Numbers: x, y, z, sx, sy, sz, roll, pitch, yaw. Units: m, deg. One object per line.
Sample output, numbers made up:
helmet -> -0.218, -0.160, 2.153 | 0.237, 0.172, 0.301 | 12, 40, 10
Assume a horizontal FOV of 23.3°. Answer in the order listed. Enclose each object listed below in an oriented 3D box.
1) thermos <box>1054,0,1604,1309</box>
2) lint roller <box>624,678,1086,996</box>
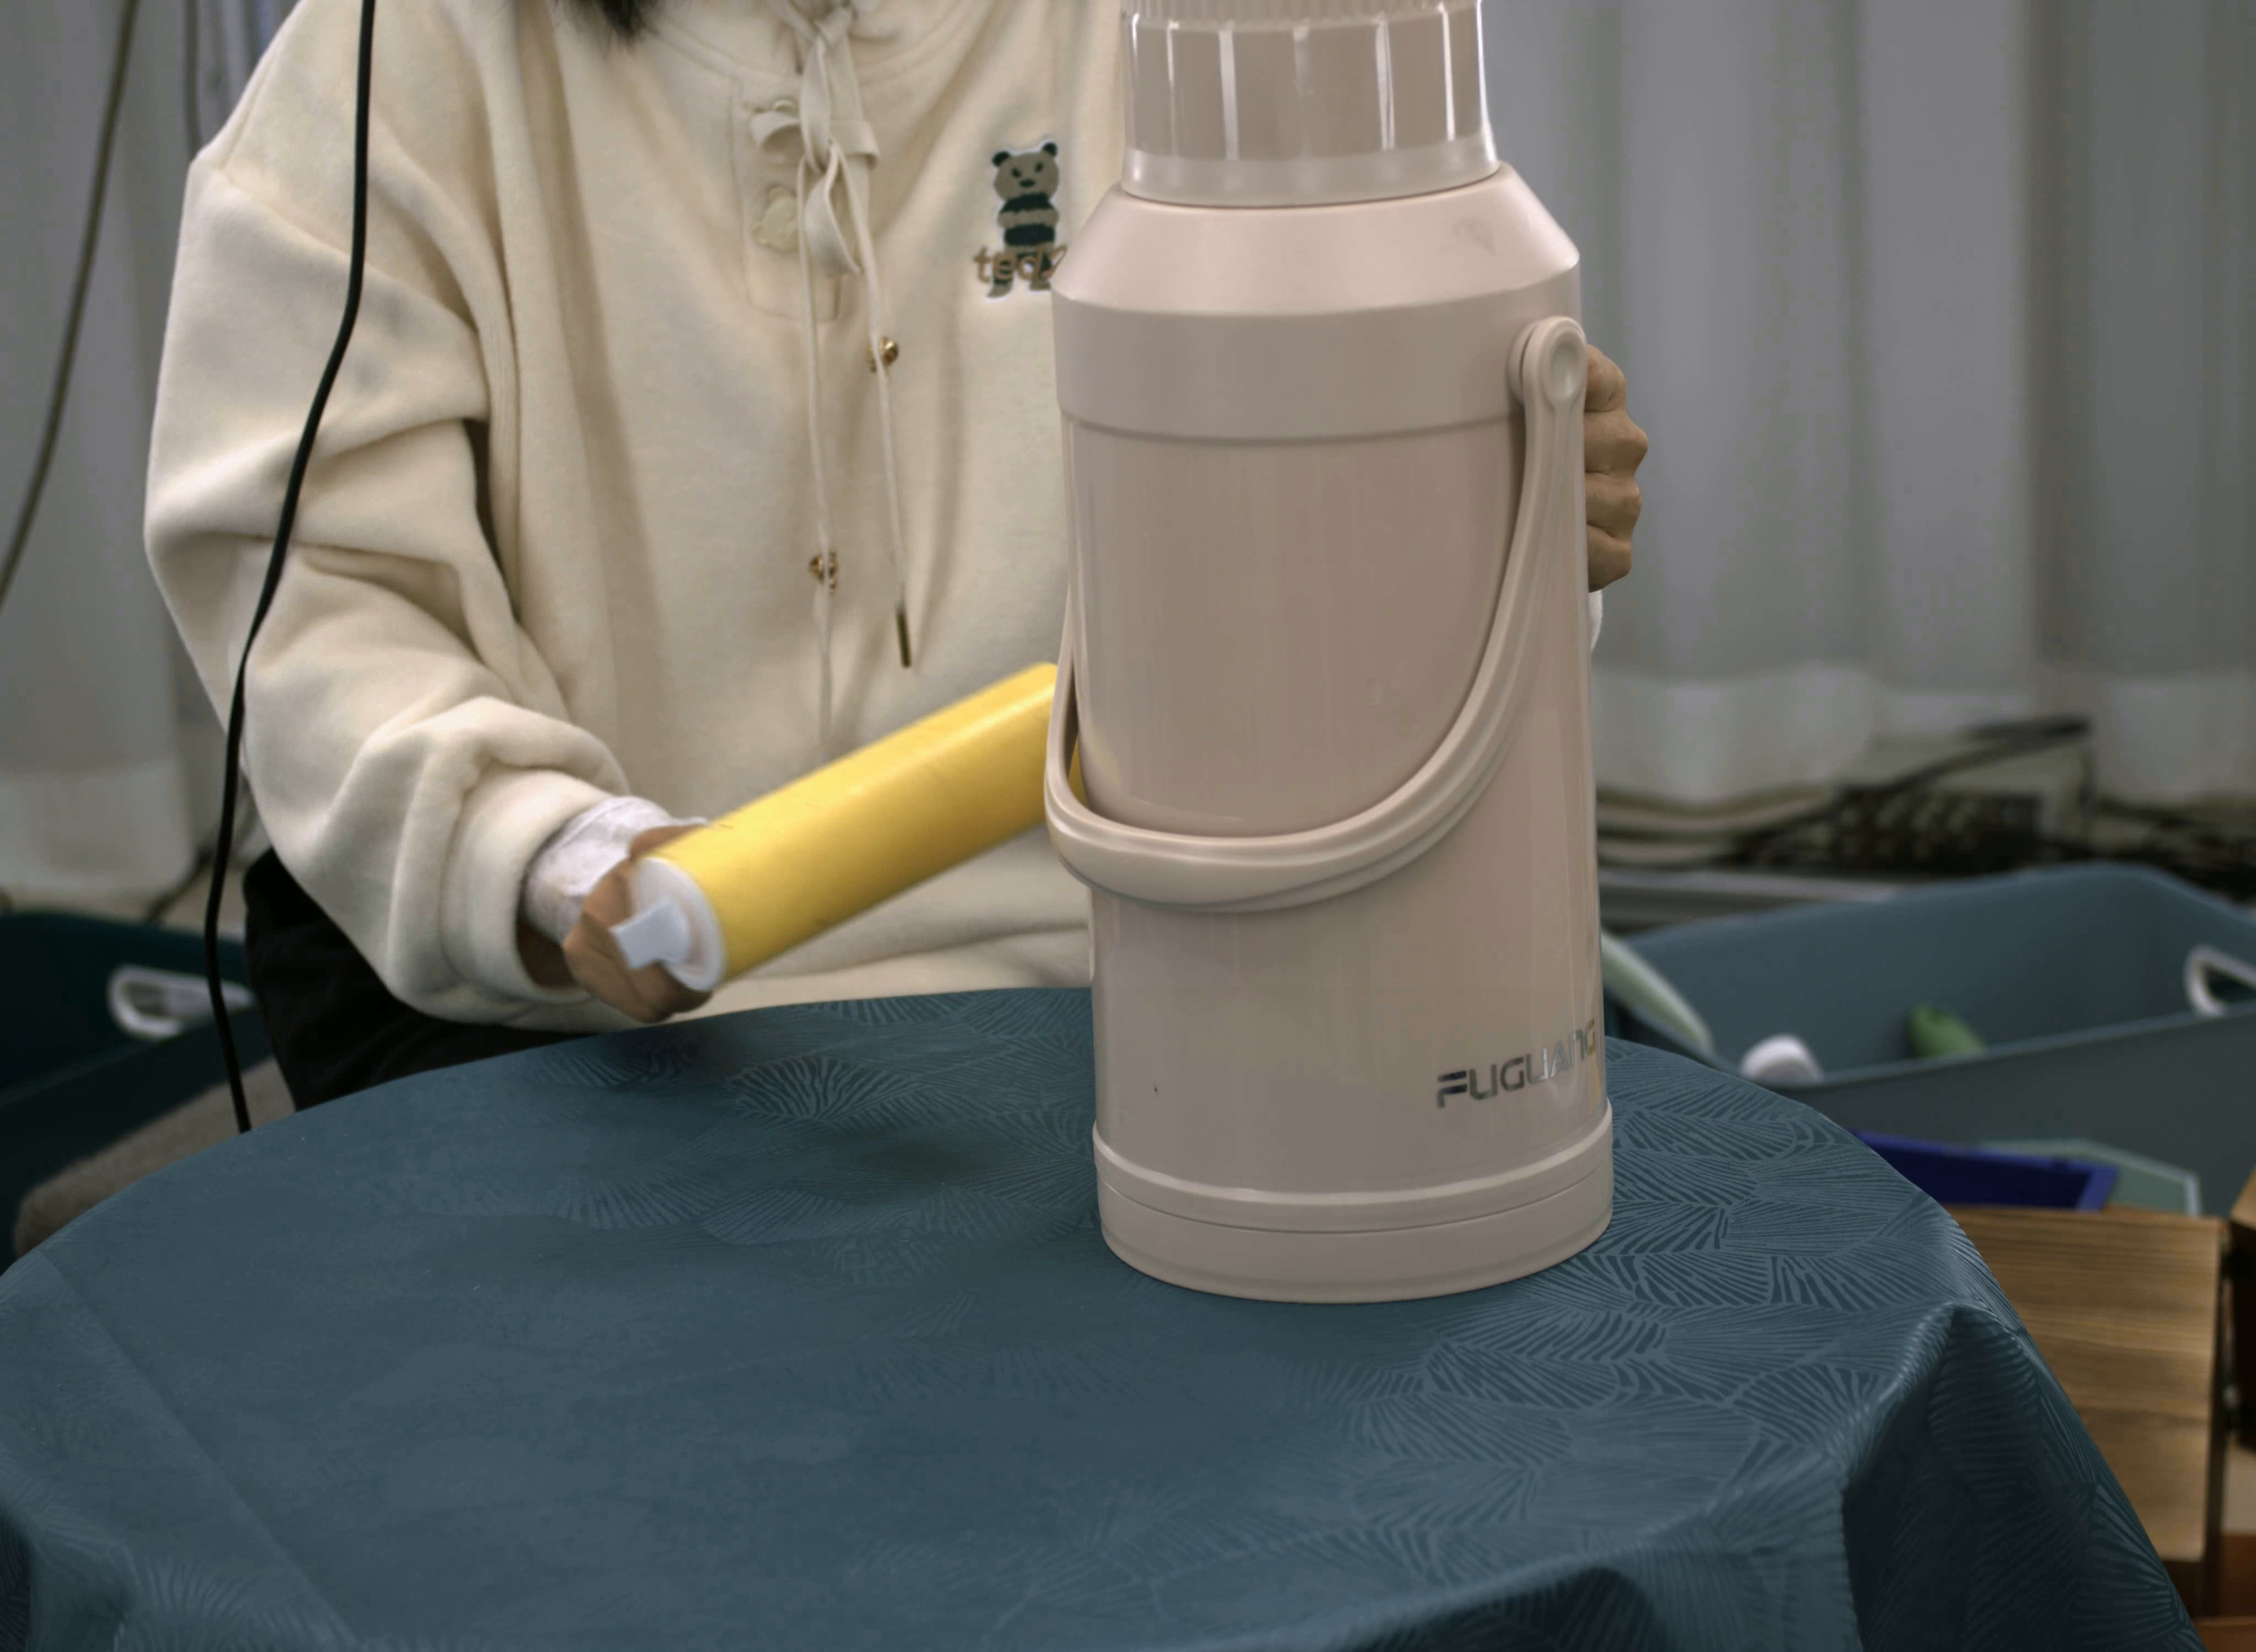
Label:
thermos -> 0.069, -0.073, 1.643 | 0.176, 0.405, 0.207 | 7, 17, 38
lint roller -> -0.115, 0.008, 1.788 | 0.174, 0.051, 0.192 | -27, 13, -34
